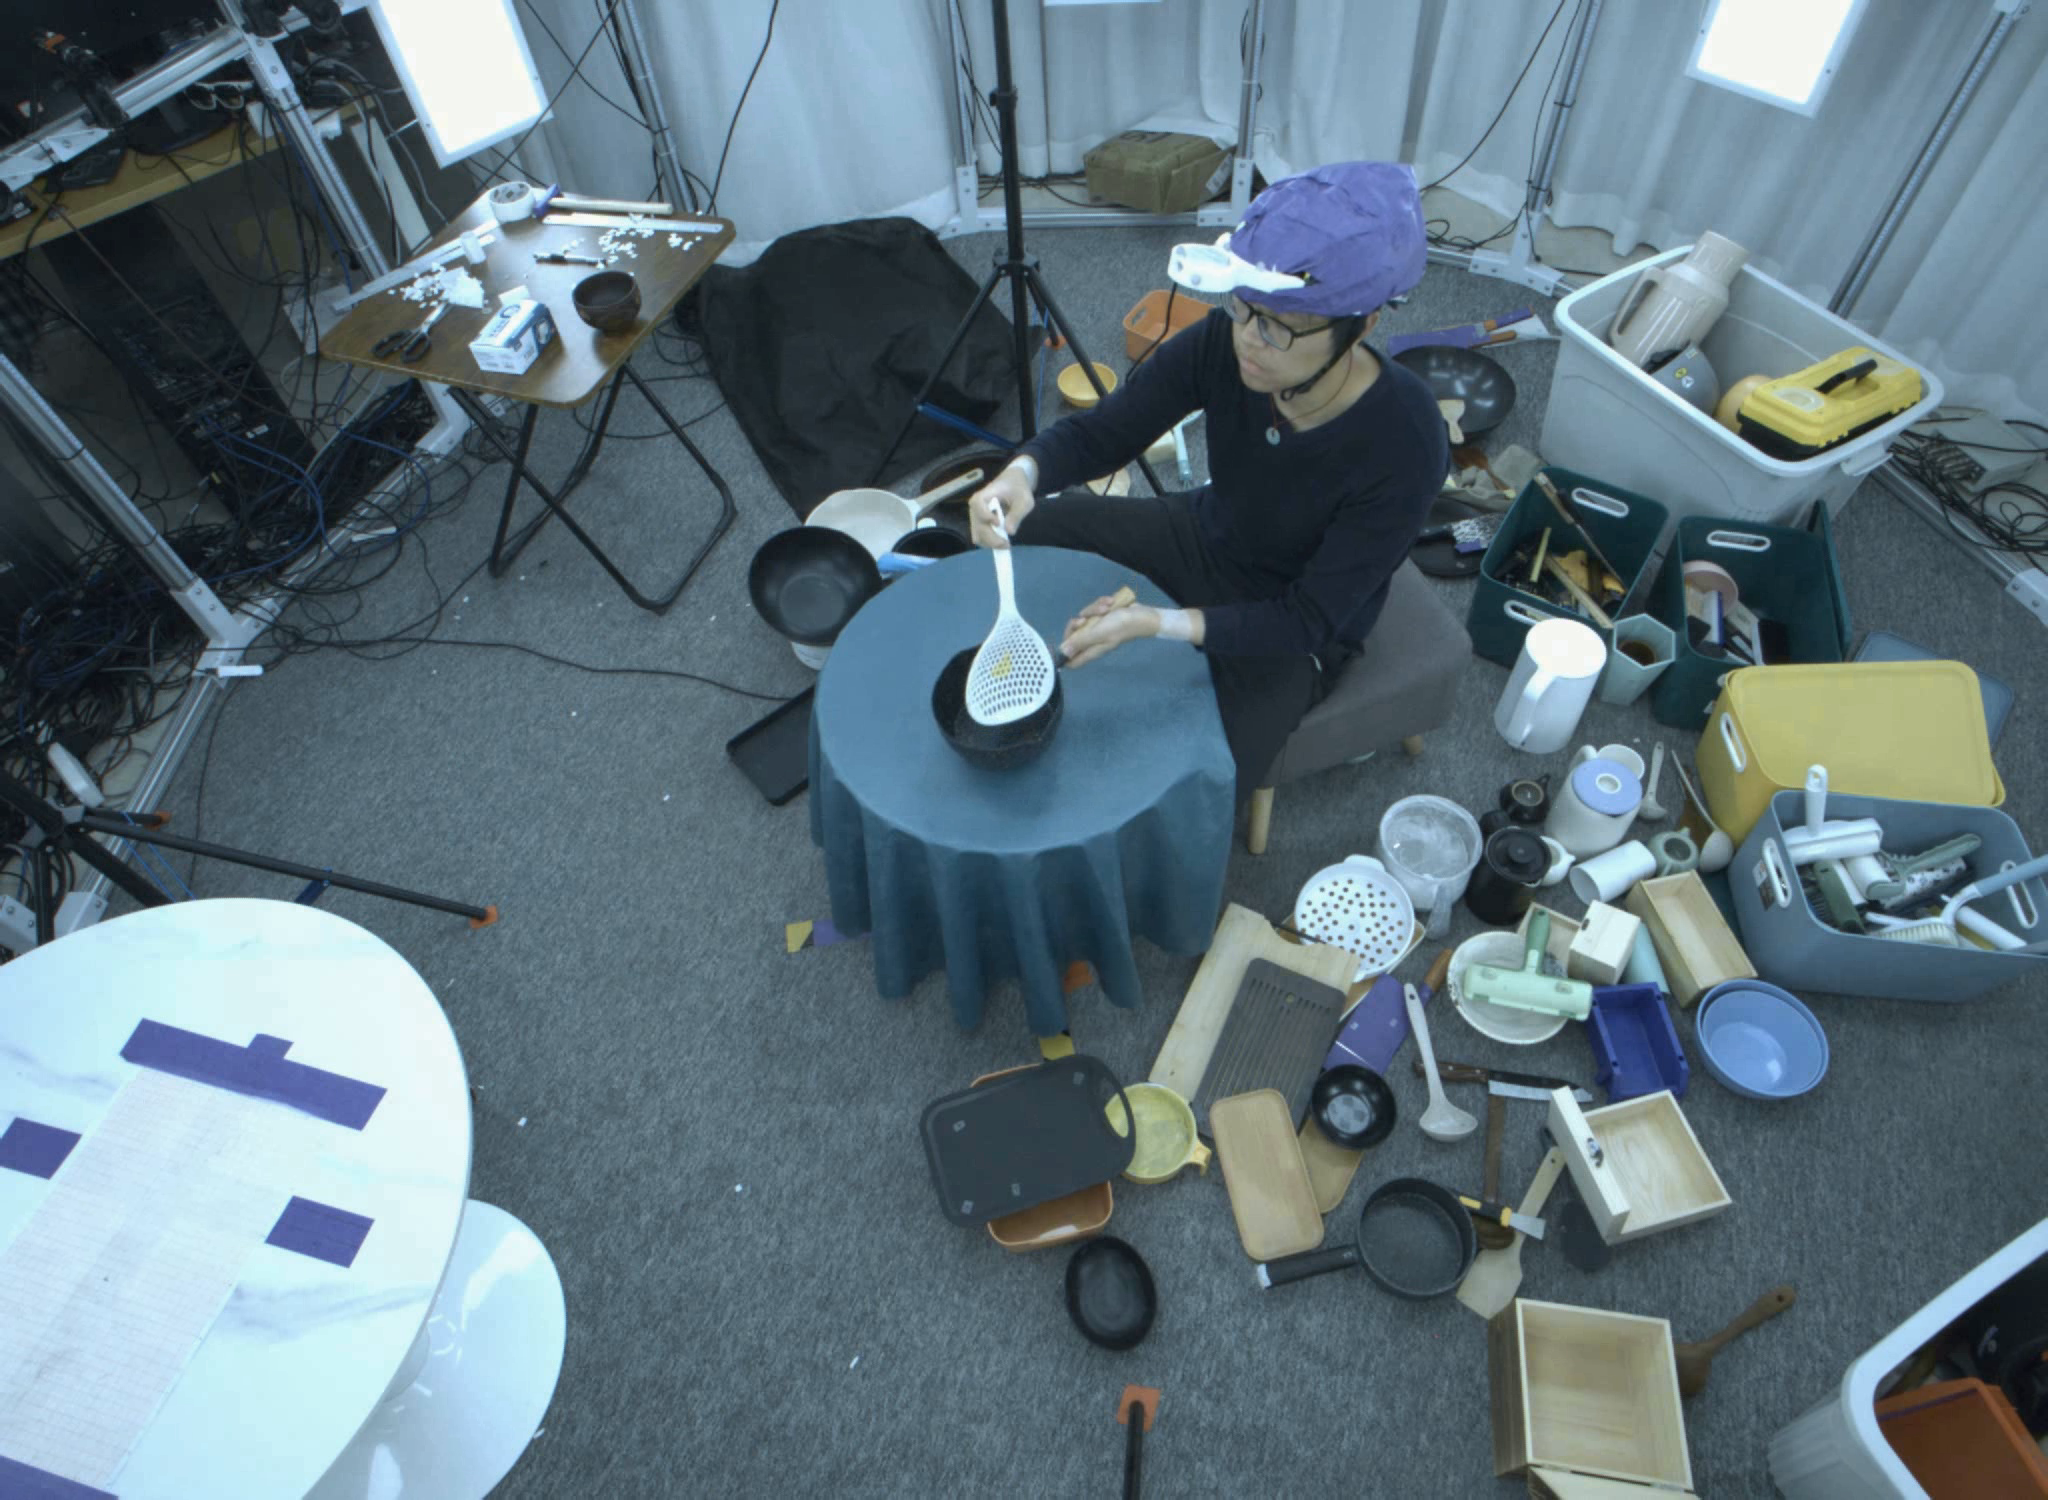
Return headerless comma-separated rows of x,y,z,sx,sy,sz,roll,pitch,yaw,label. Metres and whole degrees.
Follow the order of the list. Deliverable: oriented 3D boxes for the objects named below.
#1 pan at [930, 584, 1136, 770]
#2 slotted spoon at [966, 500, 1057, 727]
0.026,-0.110,1.748,0.344,0.110,0.203,-38,61,-14,pan
-0.029,-0.176,1.632,0.138,0.352,0.049,-20,48,-16,slotted spoon
